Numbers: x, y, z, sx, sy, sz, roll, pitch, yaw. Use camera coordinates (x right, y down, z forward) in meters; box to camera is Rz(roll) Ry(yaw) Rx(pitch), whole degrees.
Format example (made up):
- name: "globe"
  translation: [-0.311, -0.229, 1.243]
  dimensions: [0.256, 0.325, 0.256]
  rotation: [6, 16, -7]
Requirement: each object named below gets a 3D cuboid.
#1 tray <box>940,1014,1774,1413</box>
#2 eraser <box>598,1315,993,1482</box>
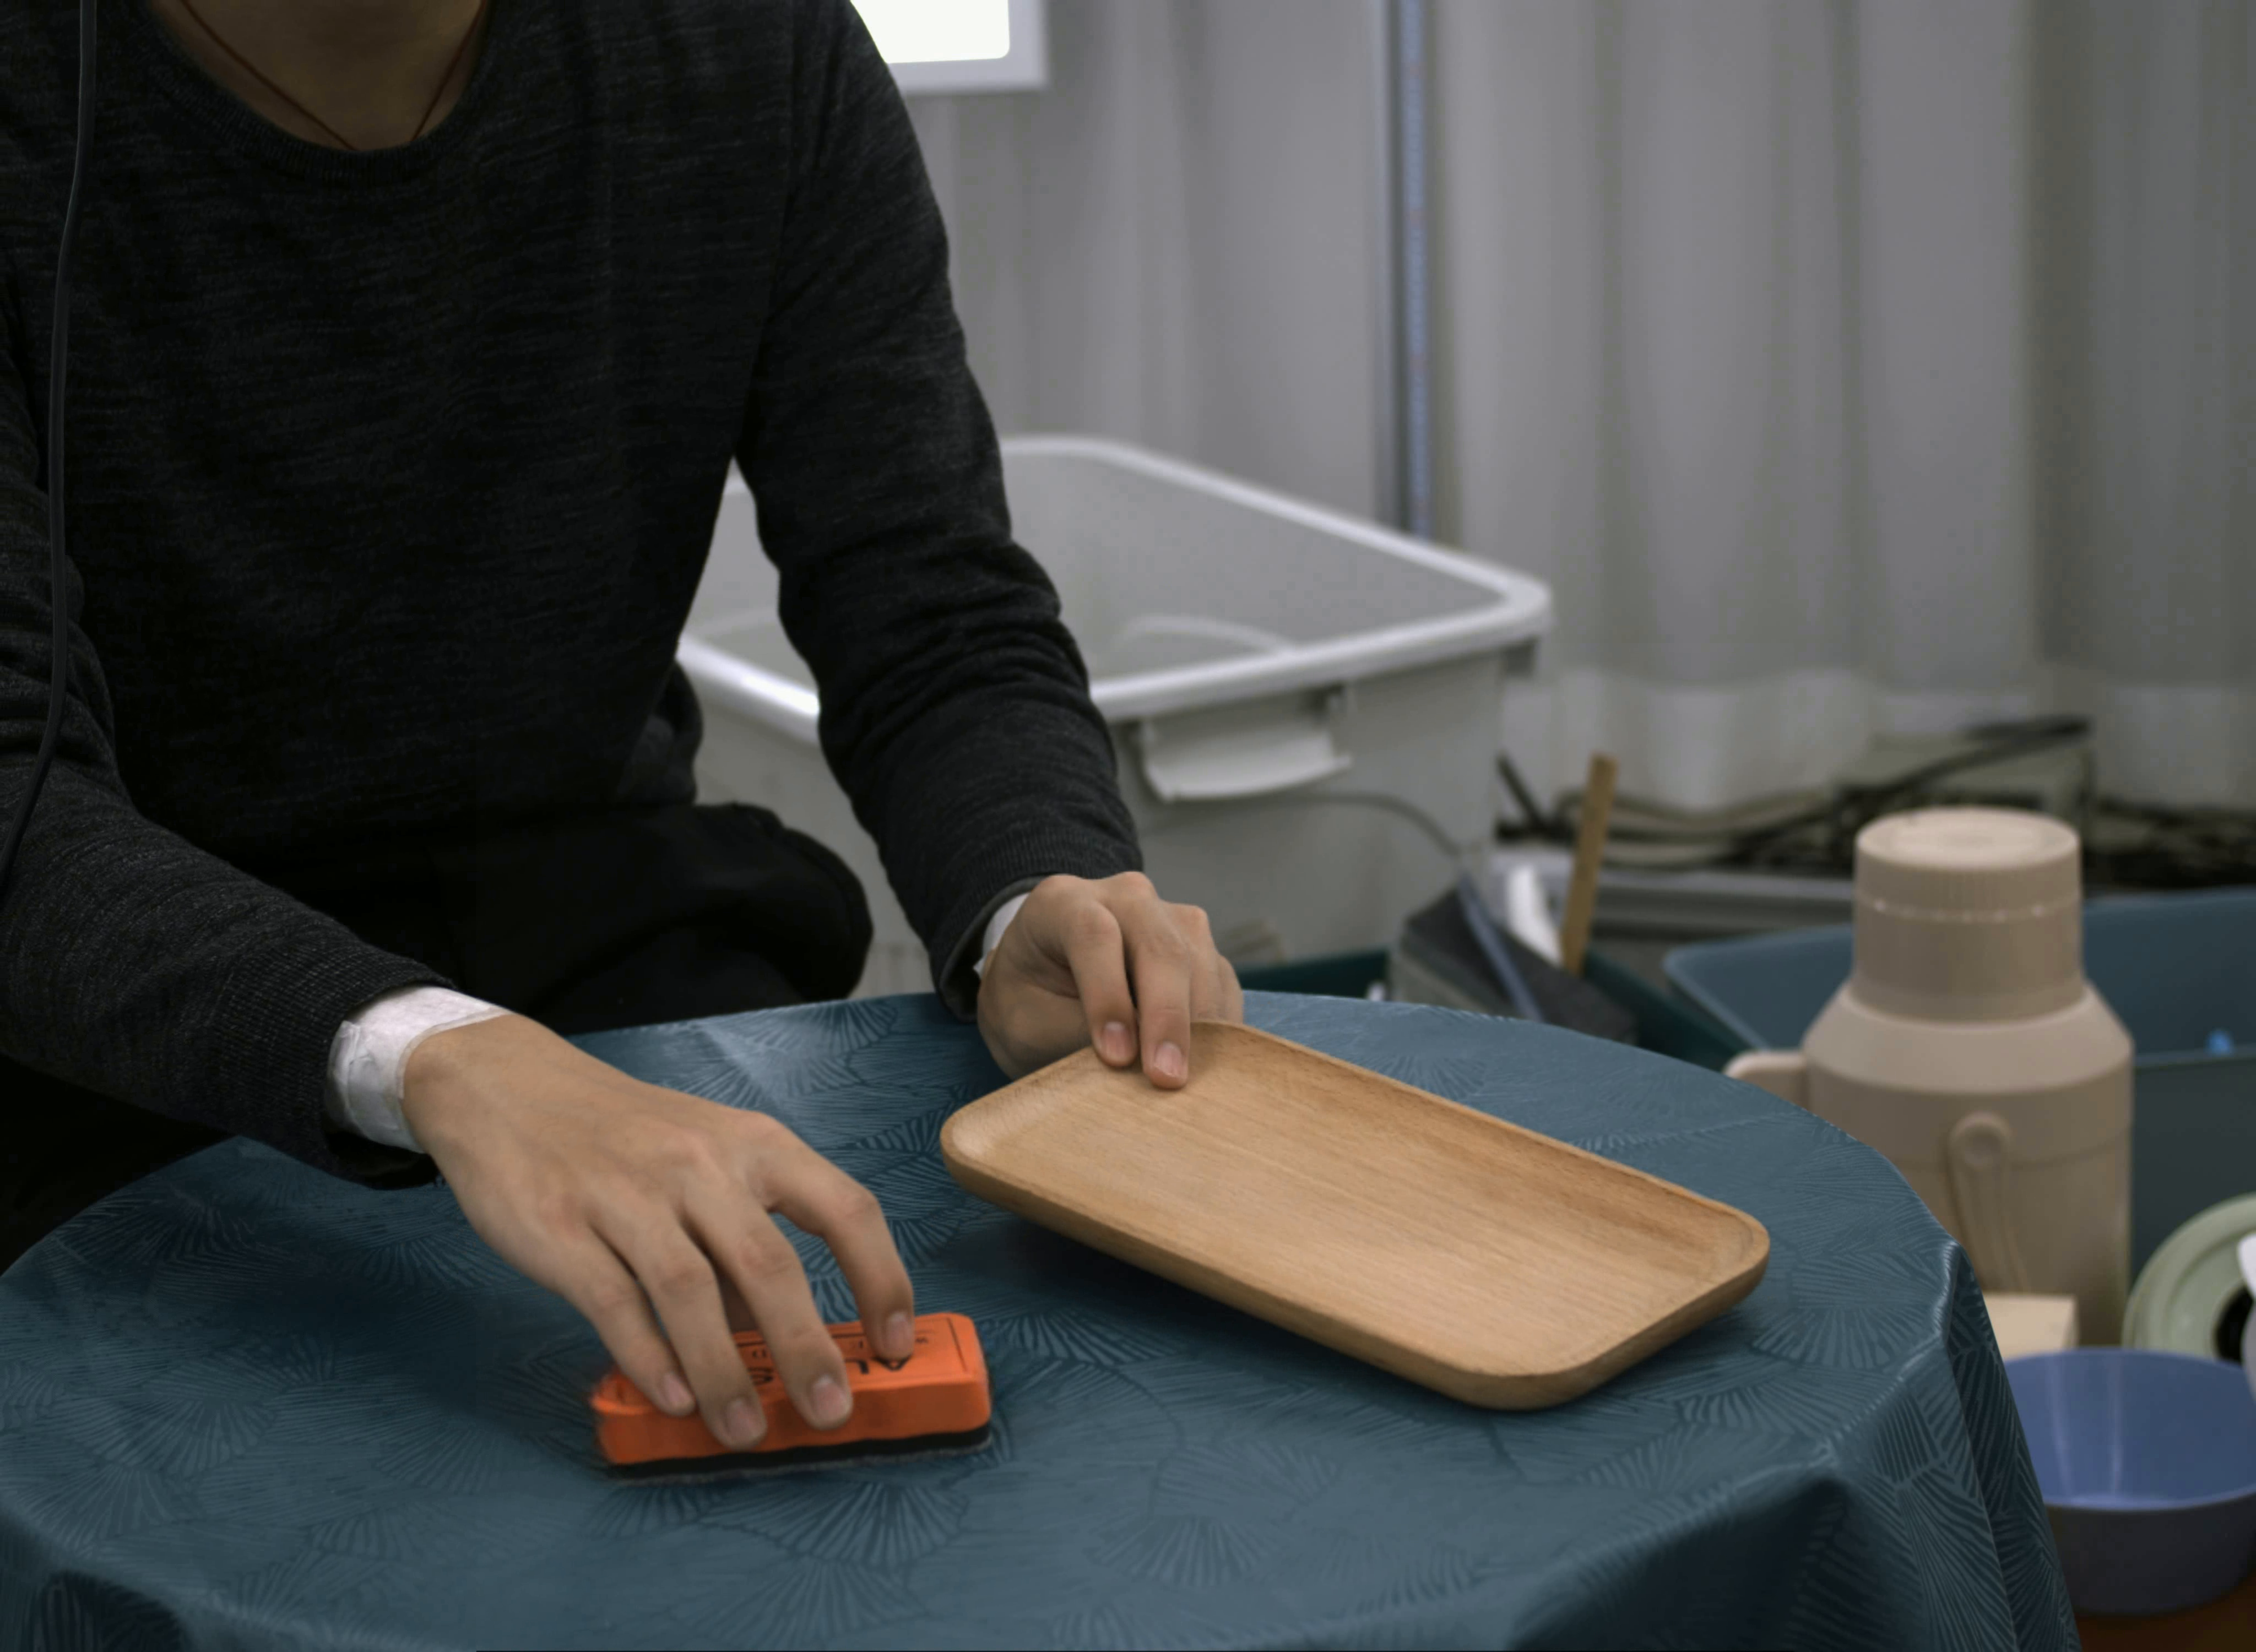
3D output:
- name: "tray"
  translation: [0.064, 0.112, 1.616]
  dimensions: [0.130, 0.023, 0.252]
  rotation: [-20, 28, -40]
- name: "eraser"
  translation: [-0.093, 0.159, 1.519]
  dimensions: [0.107, 0.023, 0.059]
  rotation: [-5, 13, -5]
